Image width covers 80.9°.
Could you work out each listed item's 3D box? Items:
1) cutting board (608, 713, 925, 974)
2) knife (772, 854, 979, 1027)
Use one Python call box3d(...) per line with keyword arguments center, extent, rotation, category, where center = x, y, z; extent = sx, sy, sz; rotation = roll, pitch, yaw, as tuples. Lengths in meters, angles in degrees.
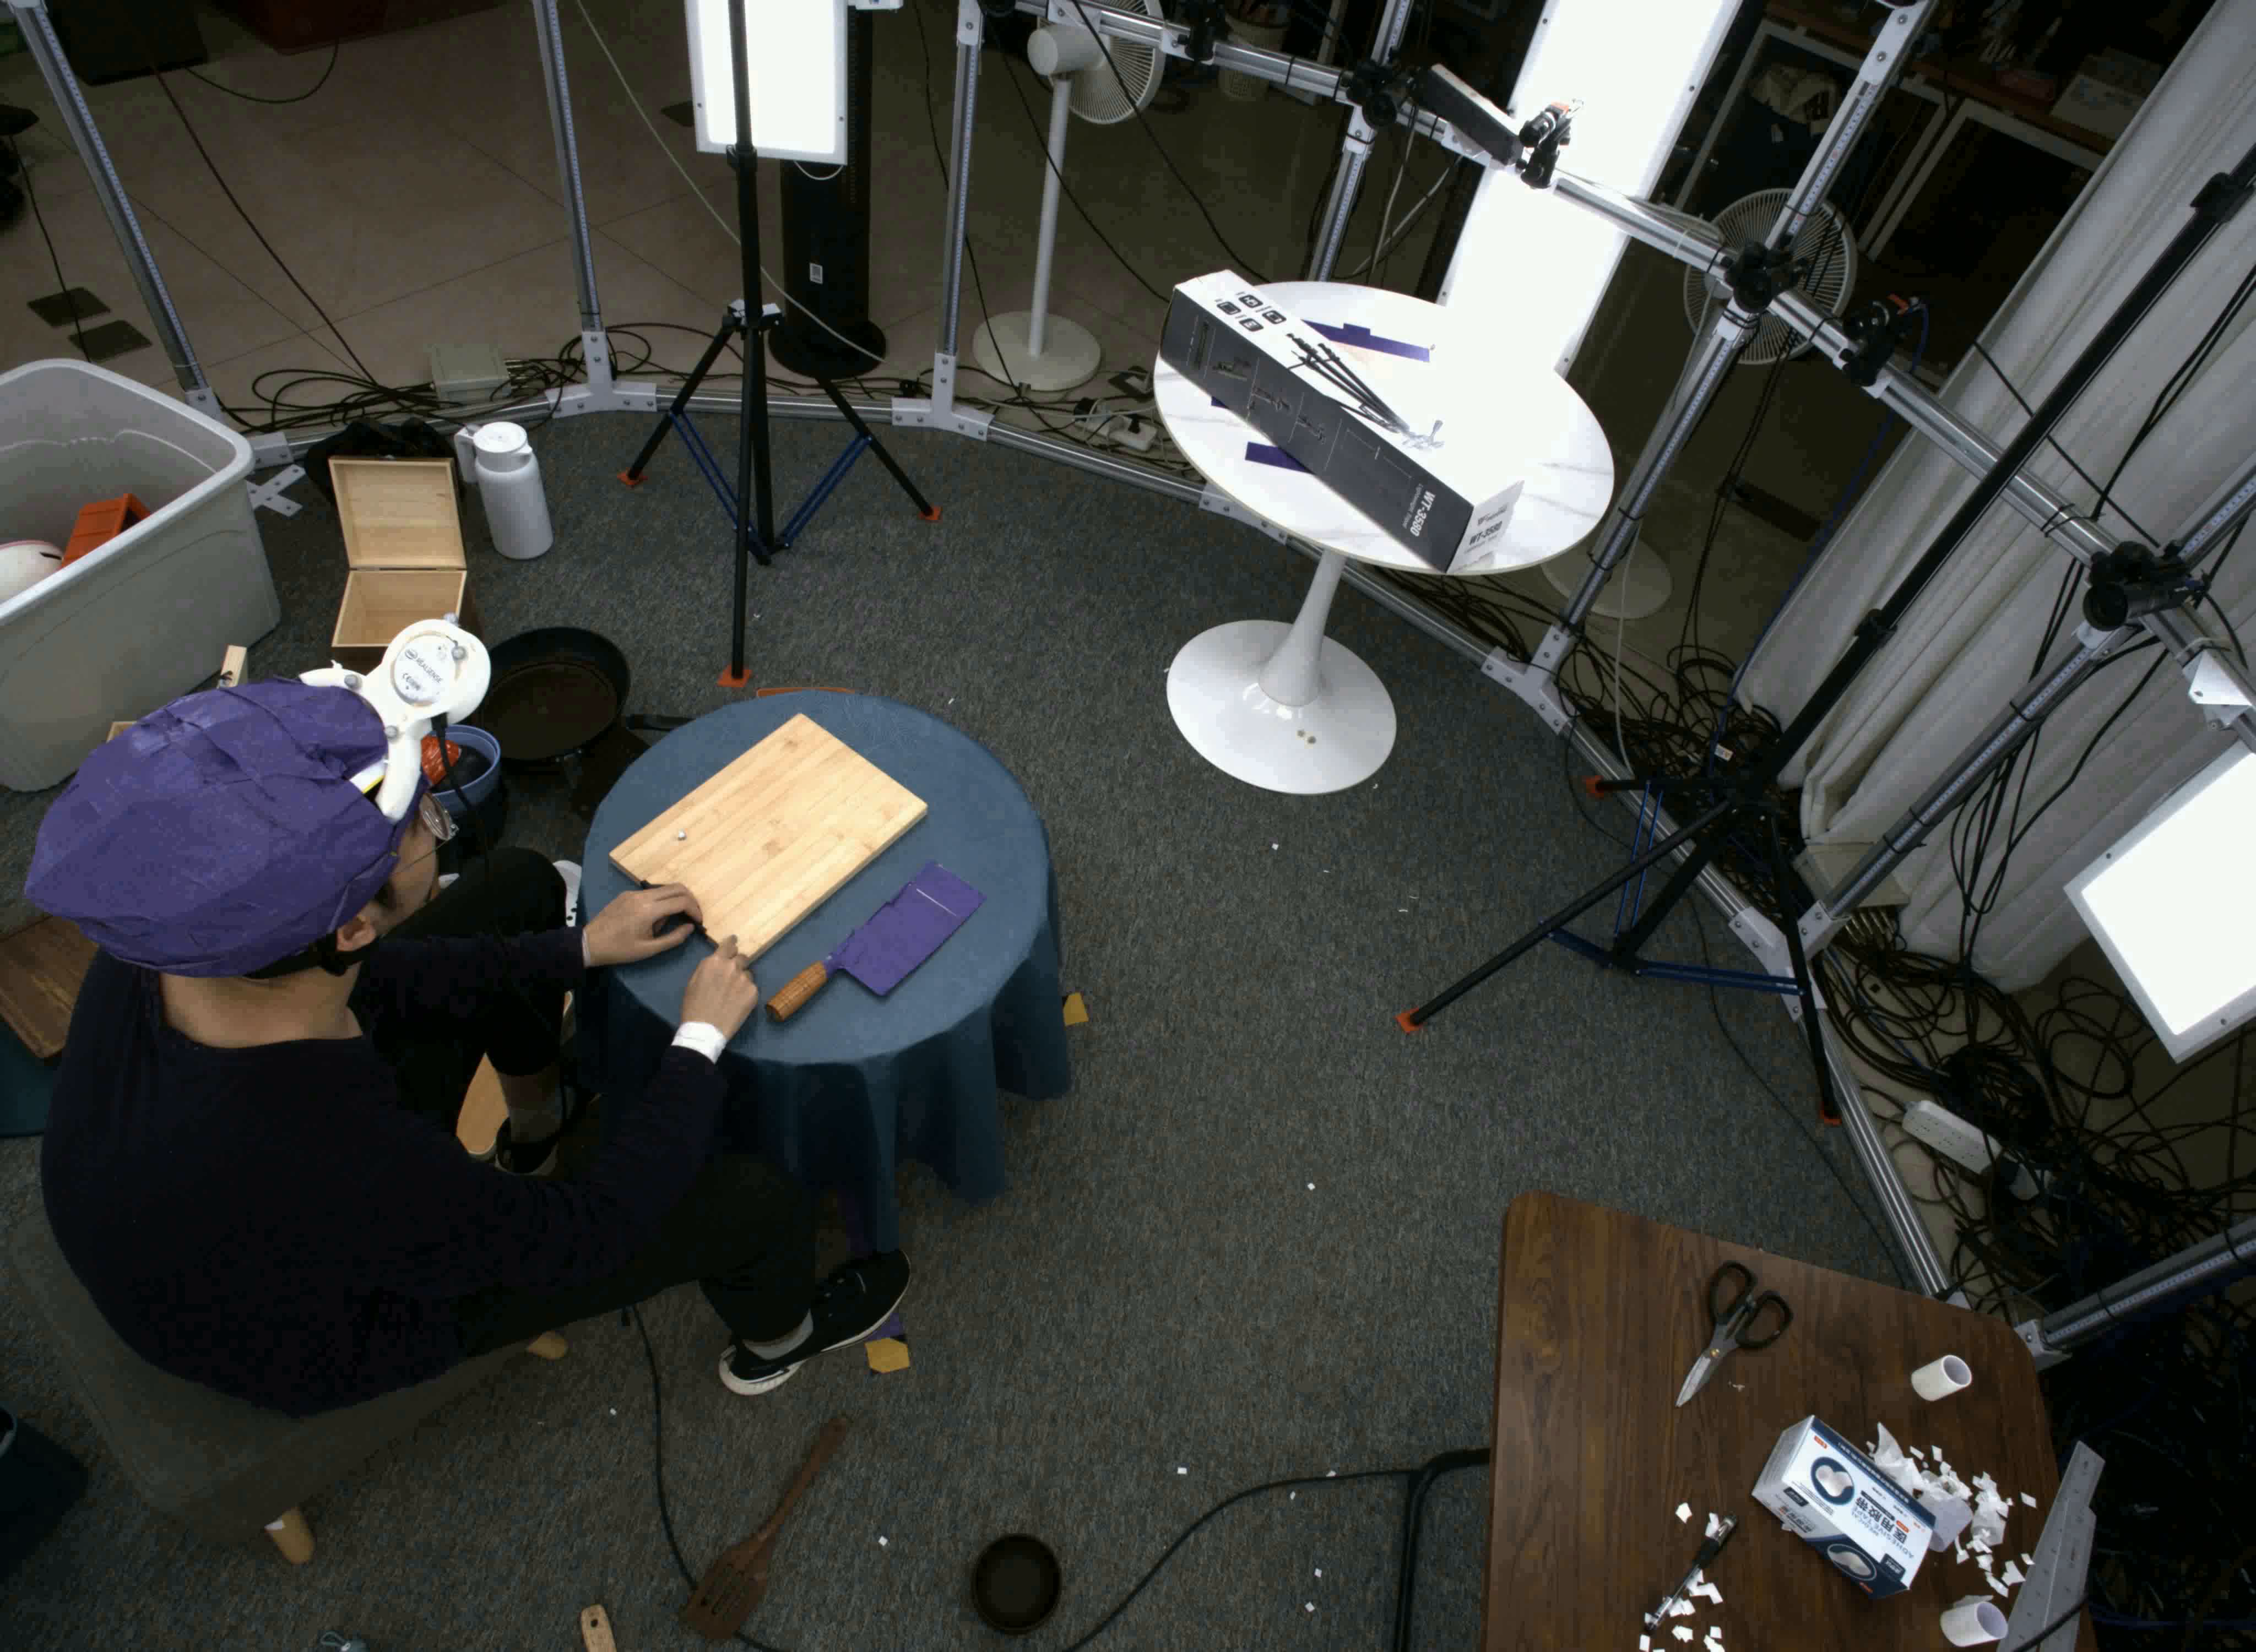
box3d(center=(-0.469, 0.011, 1.705), extent=(0.246, 0.024, 0.348), rotation=(35, 54, 12), category="cutting board")
box3d(center=(-0.308, 0.151, 1.636), extent=(0.102, 0.033, 0.315), rotation=(34, 53, 12), category="knife")
